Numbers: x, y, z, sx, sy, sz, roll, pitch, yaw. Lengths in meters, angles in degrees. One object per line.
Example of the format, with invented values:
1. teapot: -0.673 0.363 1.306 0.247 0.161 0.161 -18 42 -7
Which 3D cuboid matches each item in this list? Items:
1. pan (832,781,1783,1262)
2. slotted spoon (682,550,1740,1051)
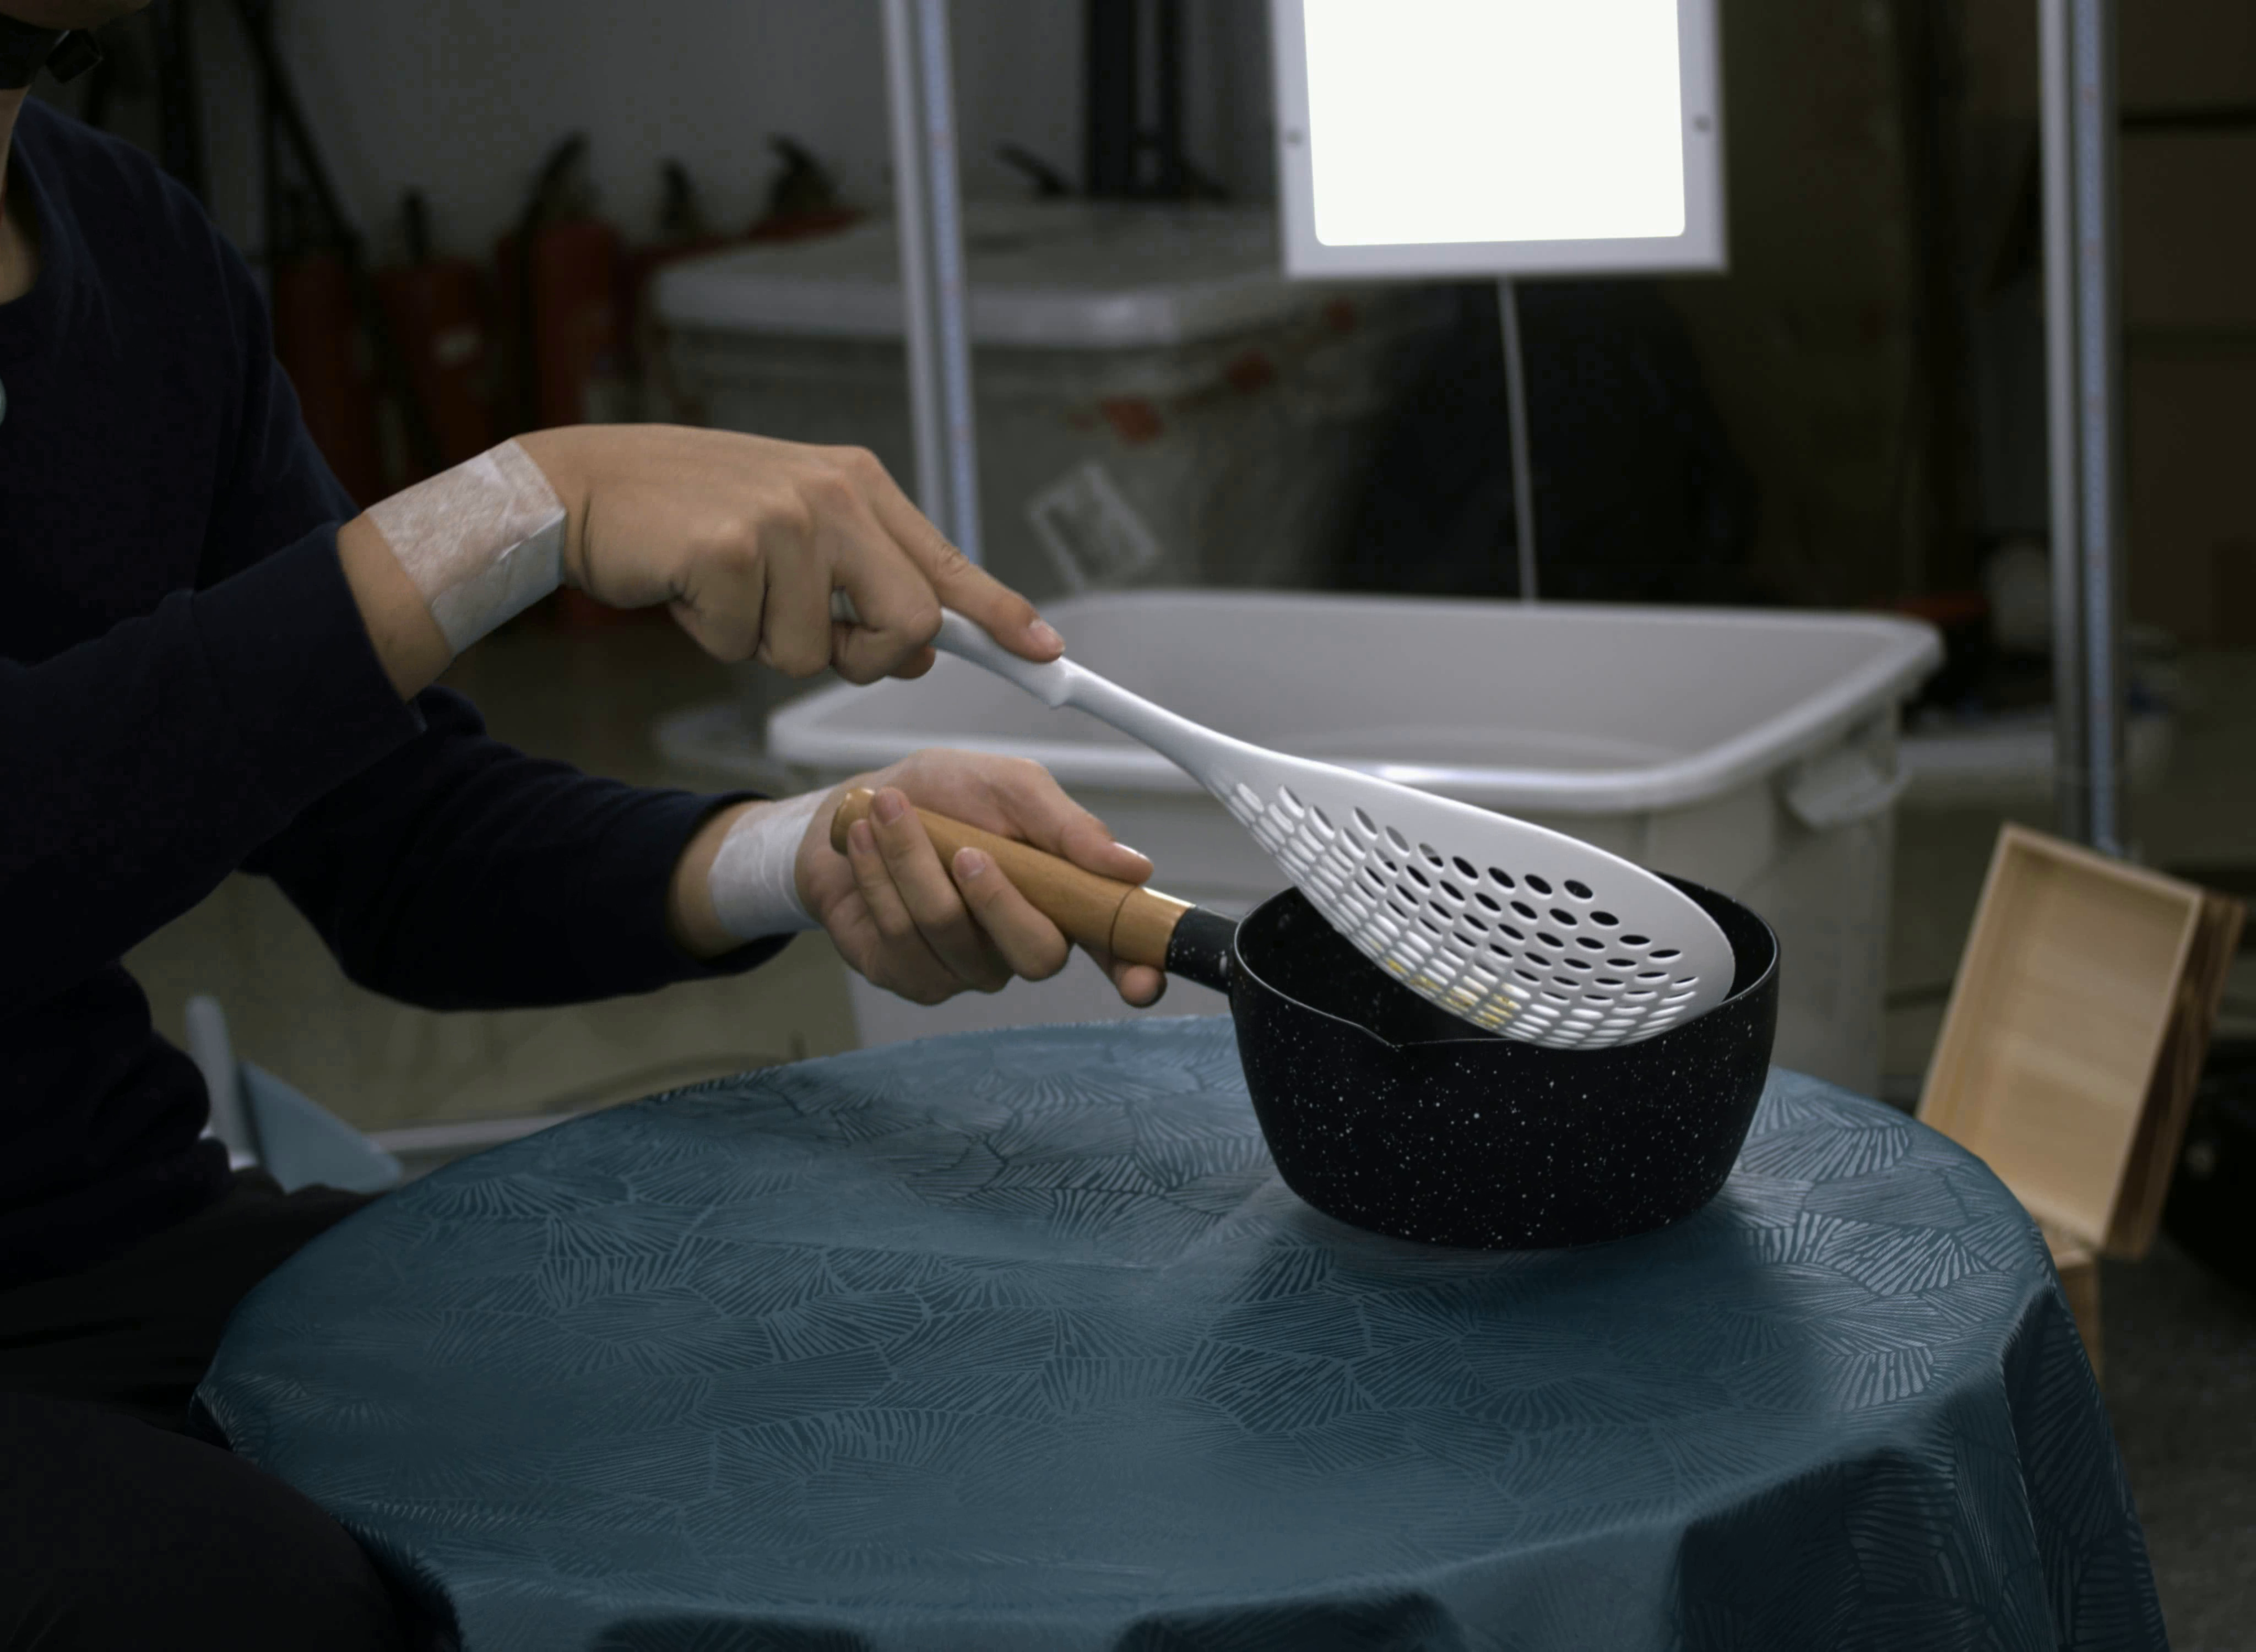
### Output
1. pan: 0.054 0.058 1.875 0.348 0.109 0.203 8 21 23
2. slotted spoon: 0.024 -0.012 1.690 0.346 0.050 0.138 30 -20 -4
